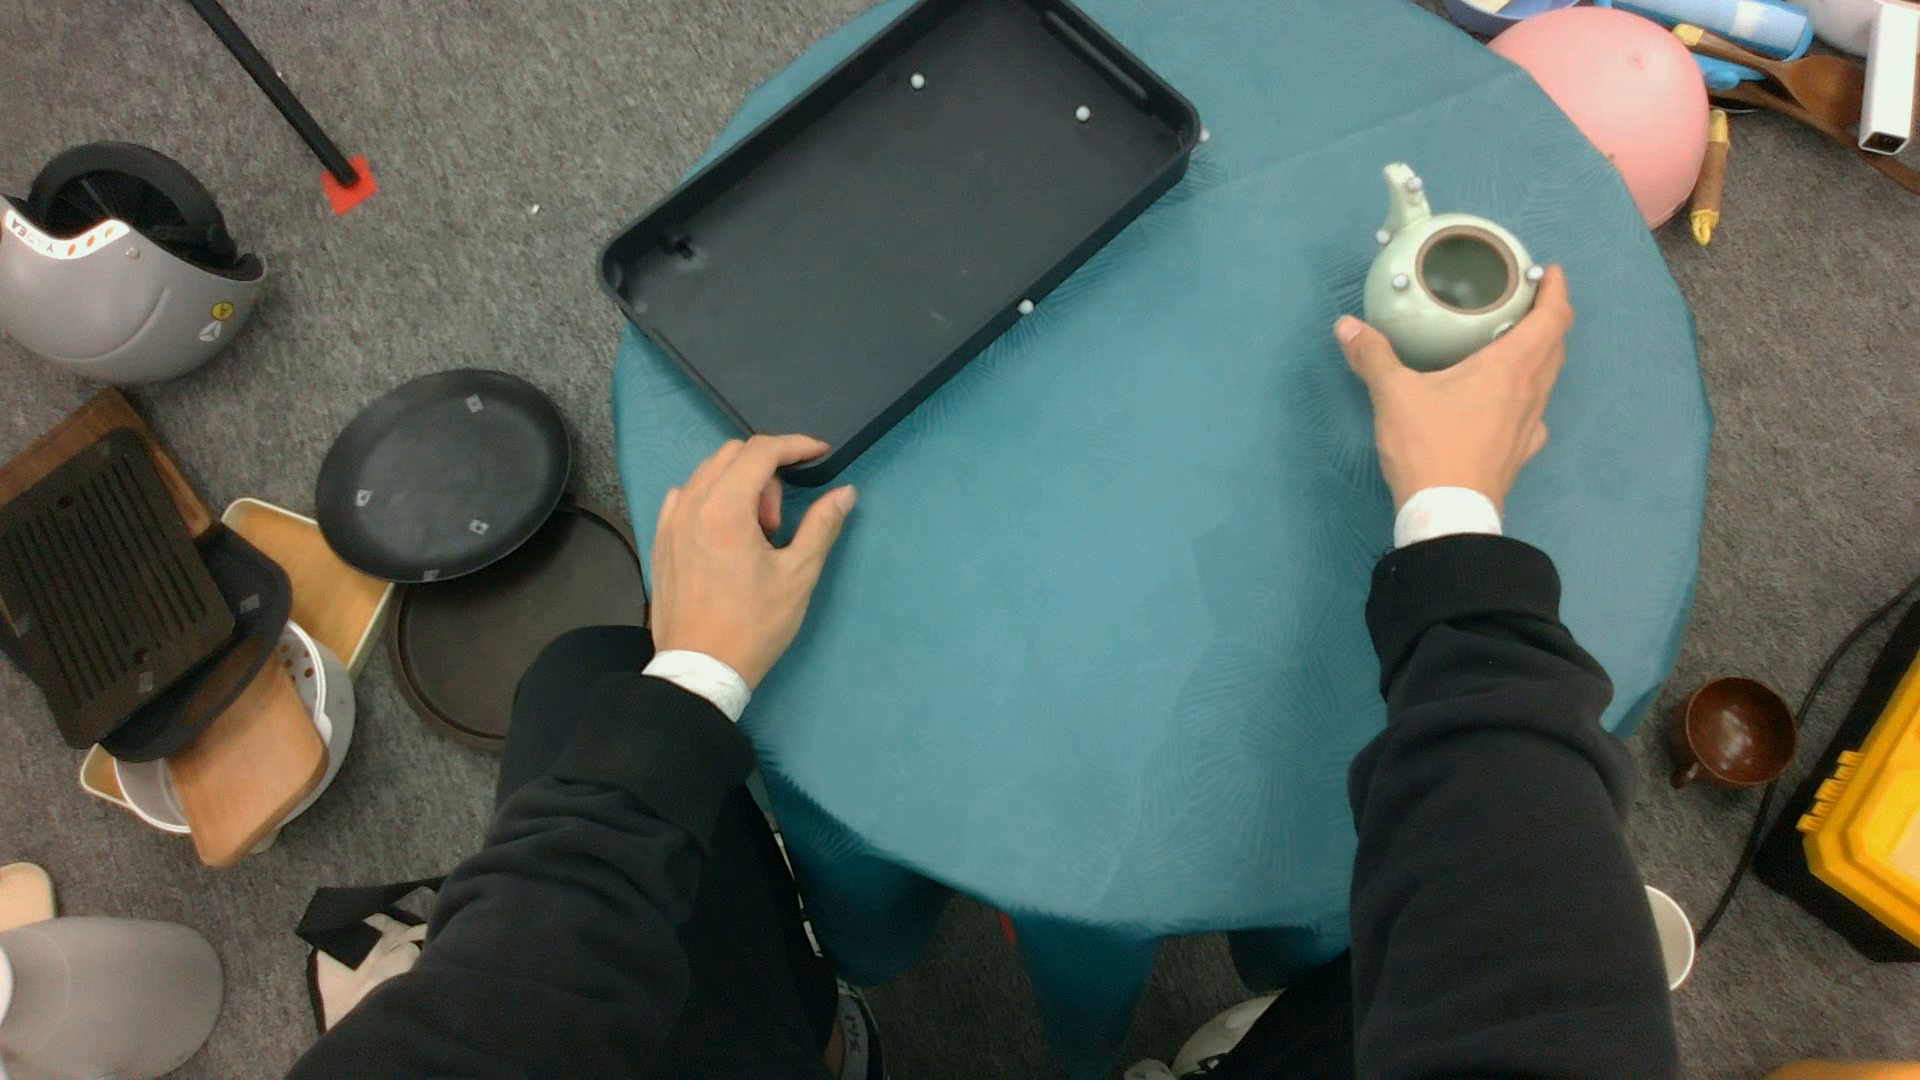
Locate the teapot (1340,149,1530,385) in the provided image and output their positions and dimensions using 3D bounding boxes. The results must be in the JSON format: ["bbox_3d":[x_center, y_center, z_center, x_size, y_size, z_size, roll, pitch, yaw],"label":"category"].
[{"bbox_3d":[0.250,-0.138,0.739,0.088,0.074,0.144,-26,71,-7],"label":"teapot"}]

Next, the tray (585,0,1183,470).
[{"bbox_3d":[-0.039,-0.199,0.783,0.184,0.037,0.318,43,77,14],"label":"tray"}]
